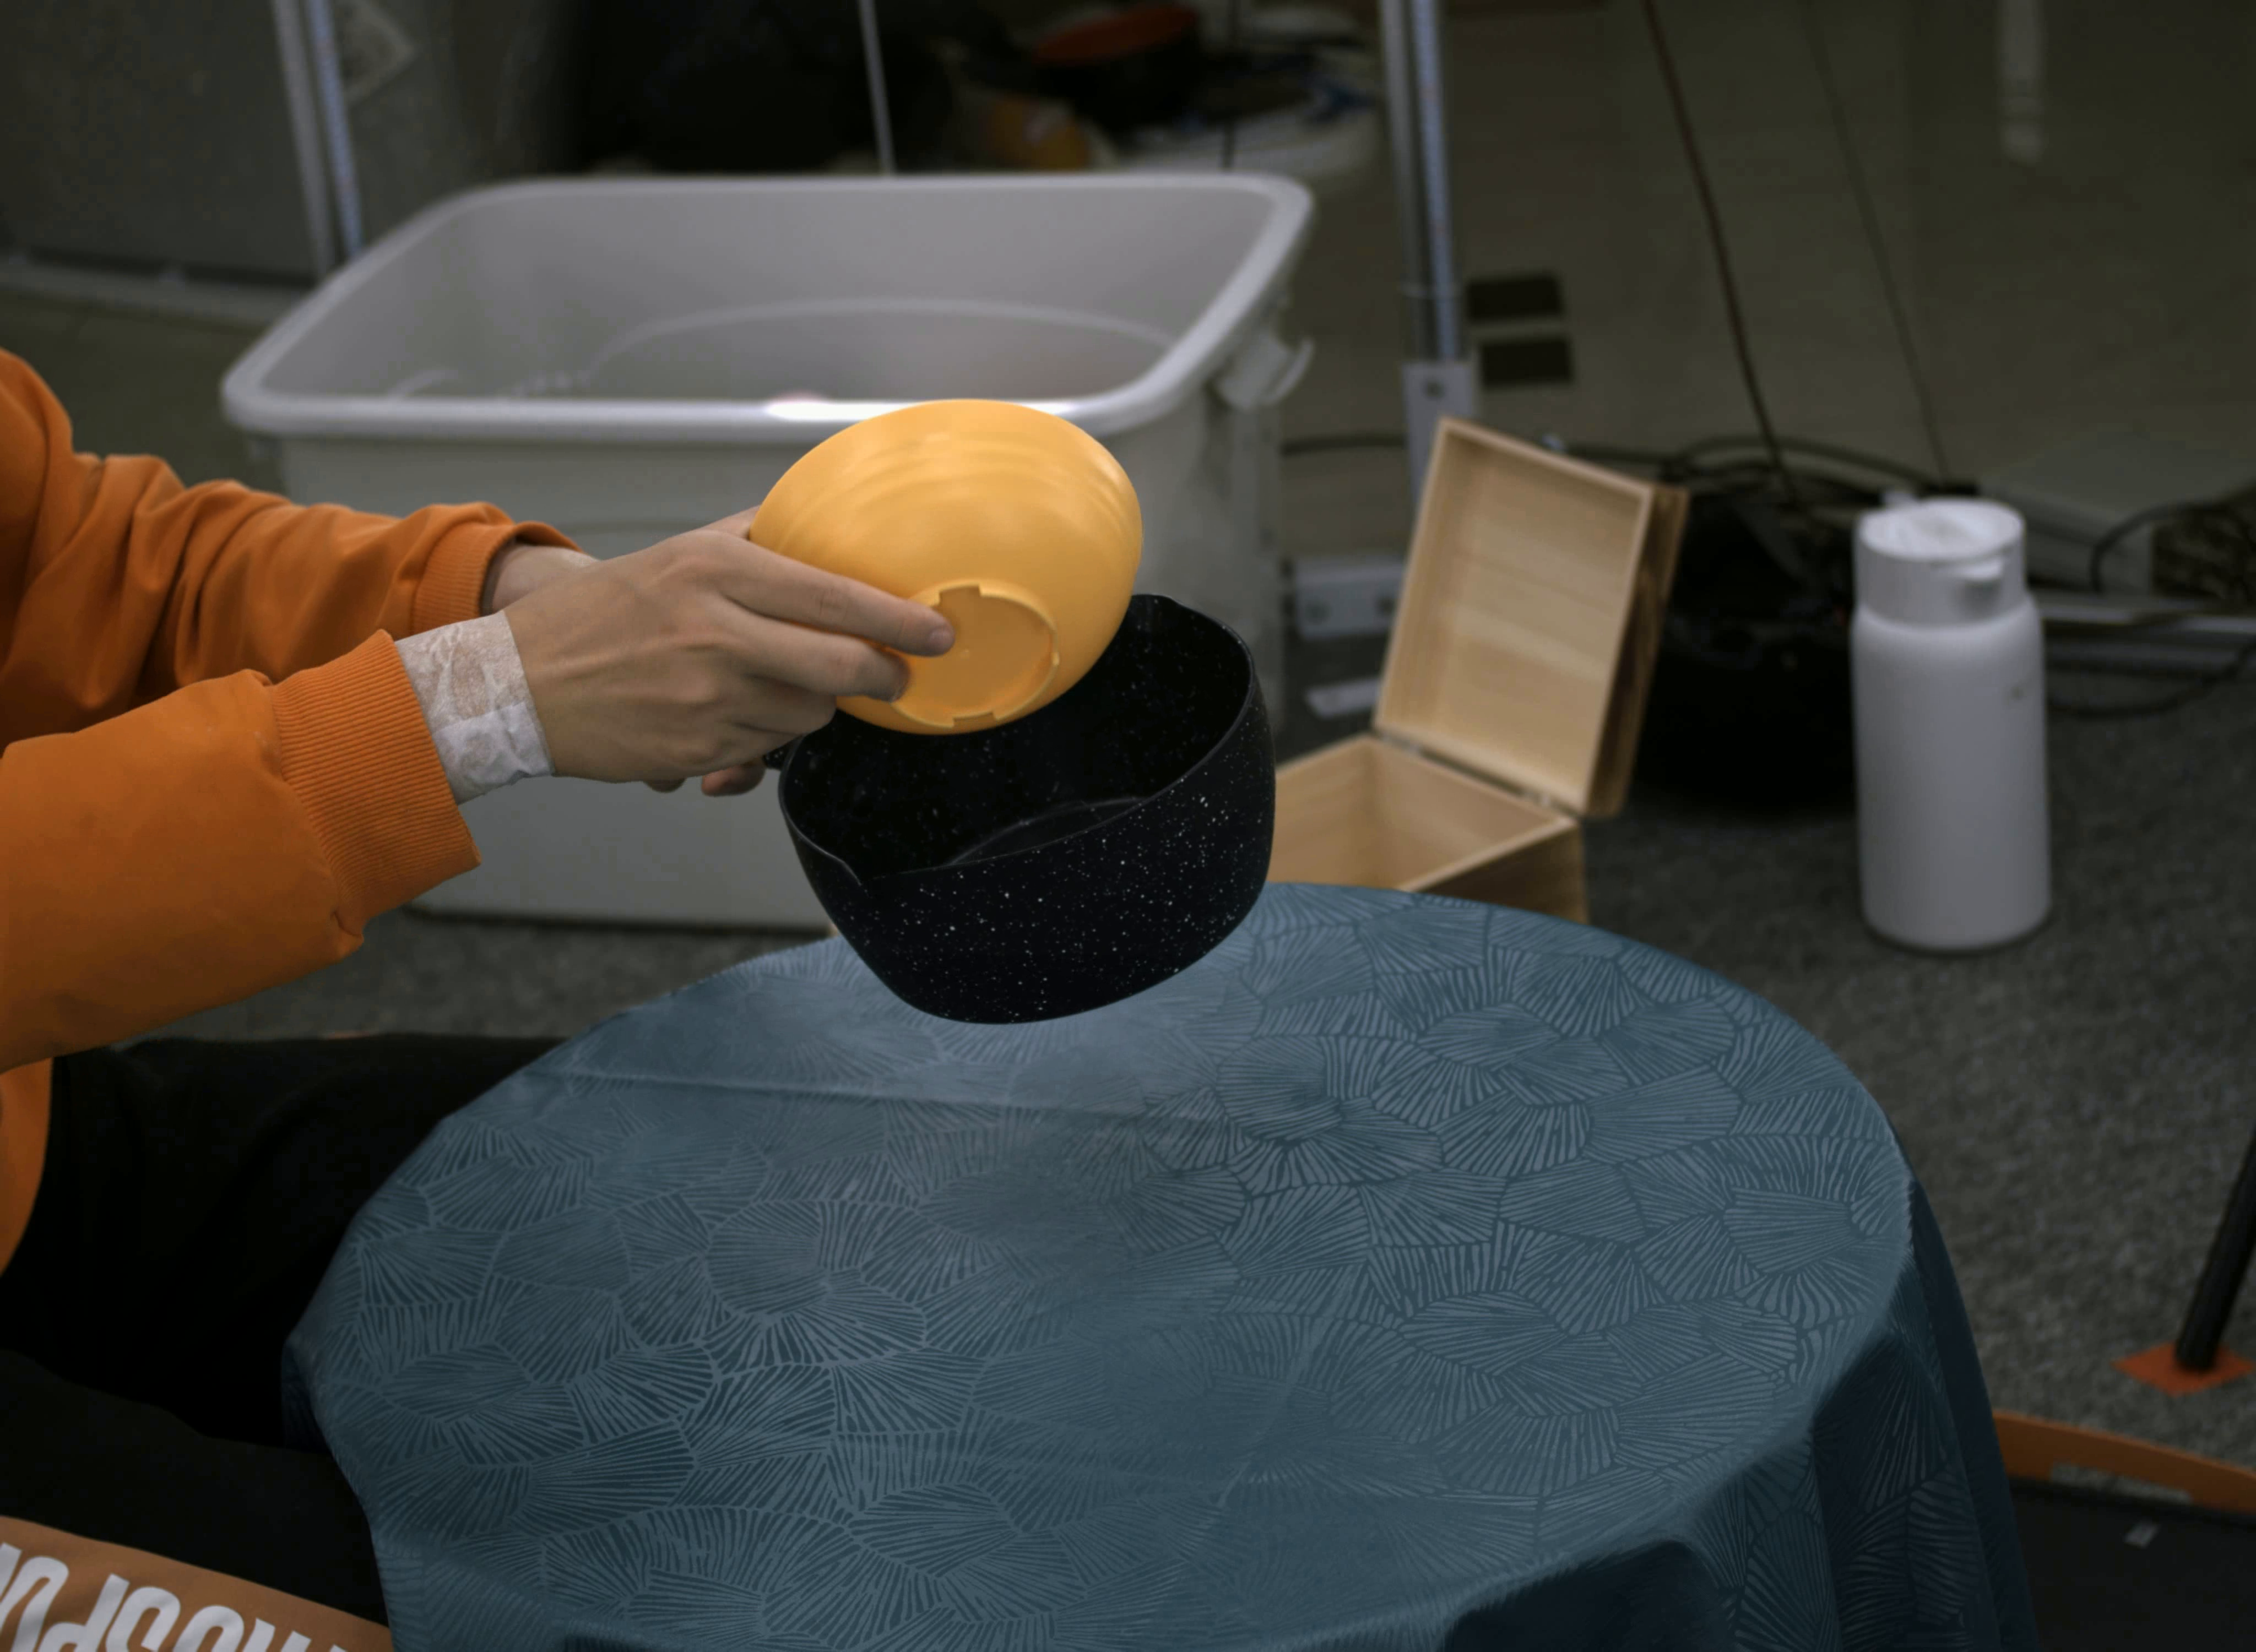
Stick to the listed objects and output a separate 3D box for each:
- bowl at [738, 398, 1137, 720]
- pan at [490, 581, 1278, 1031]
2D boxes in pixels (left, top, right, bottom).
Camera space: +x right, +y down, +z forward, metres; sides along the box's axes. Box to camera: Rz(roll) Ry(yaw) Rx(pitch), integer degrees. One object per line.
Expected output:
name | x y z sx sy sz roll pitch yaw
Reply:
bowl | -0.065 -0.081 2.002 0.145 0.148 0.059 -7 52 -2
pan | -0.099 -0.017 2.151 0.341 0.110 0.204 7 39 34
